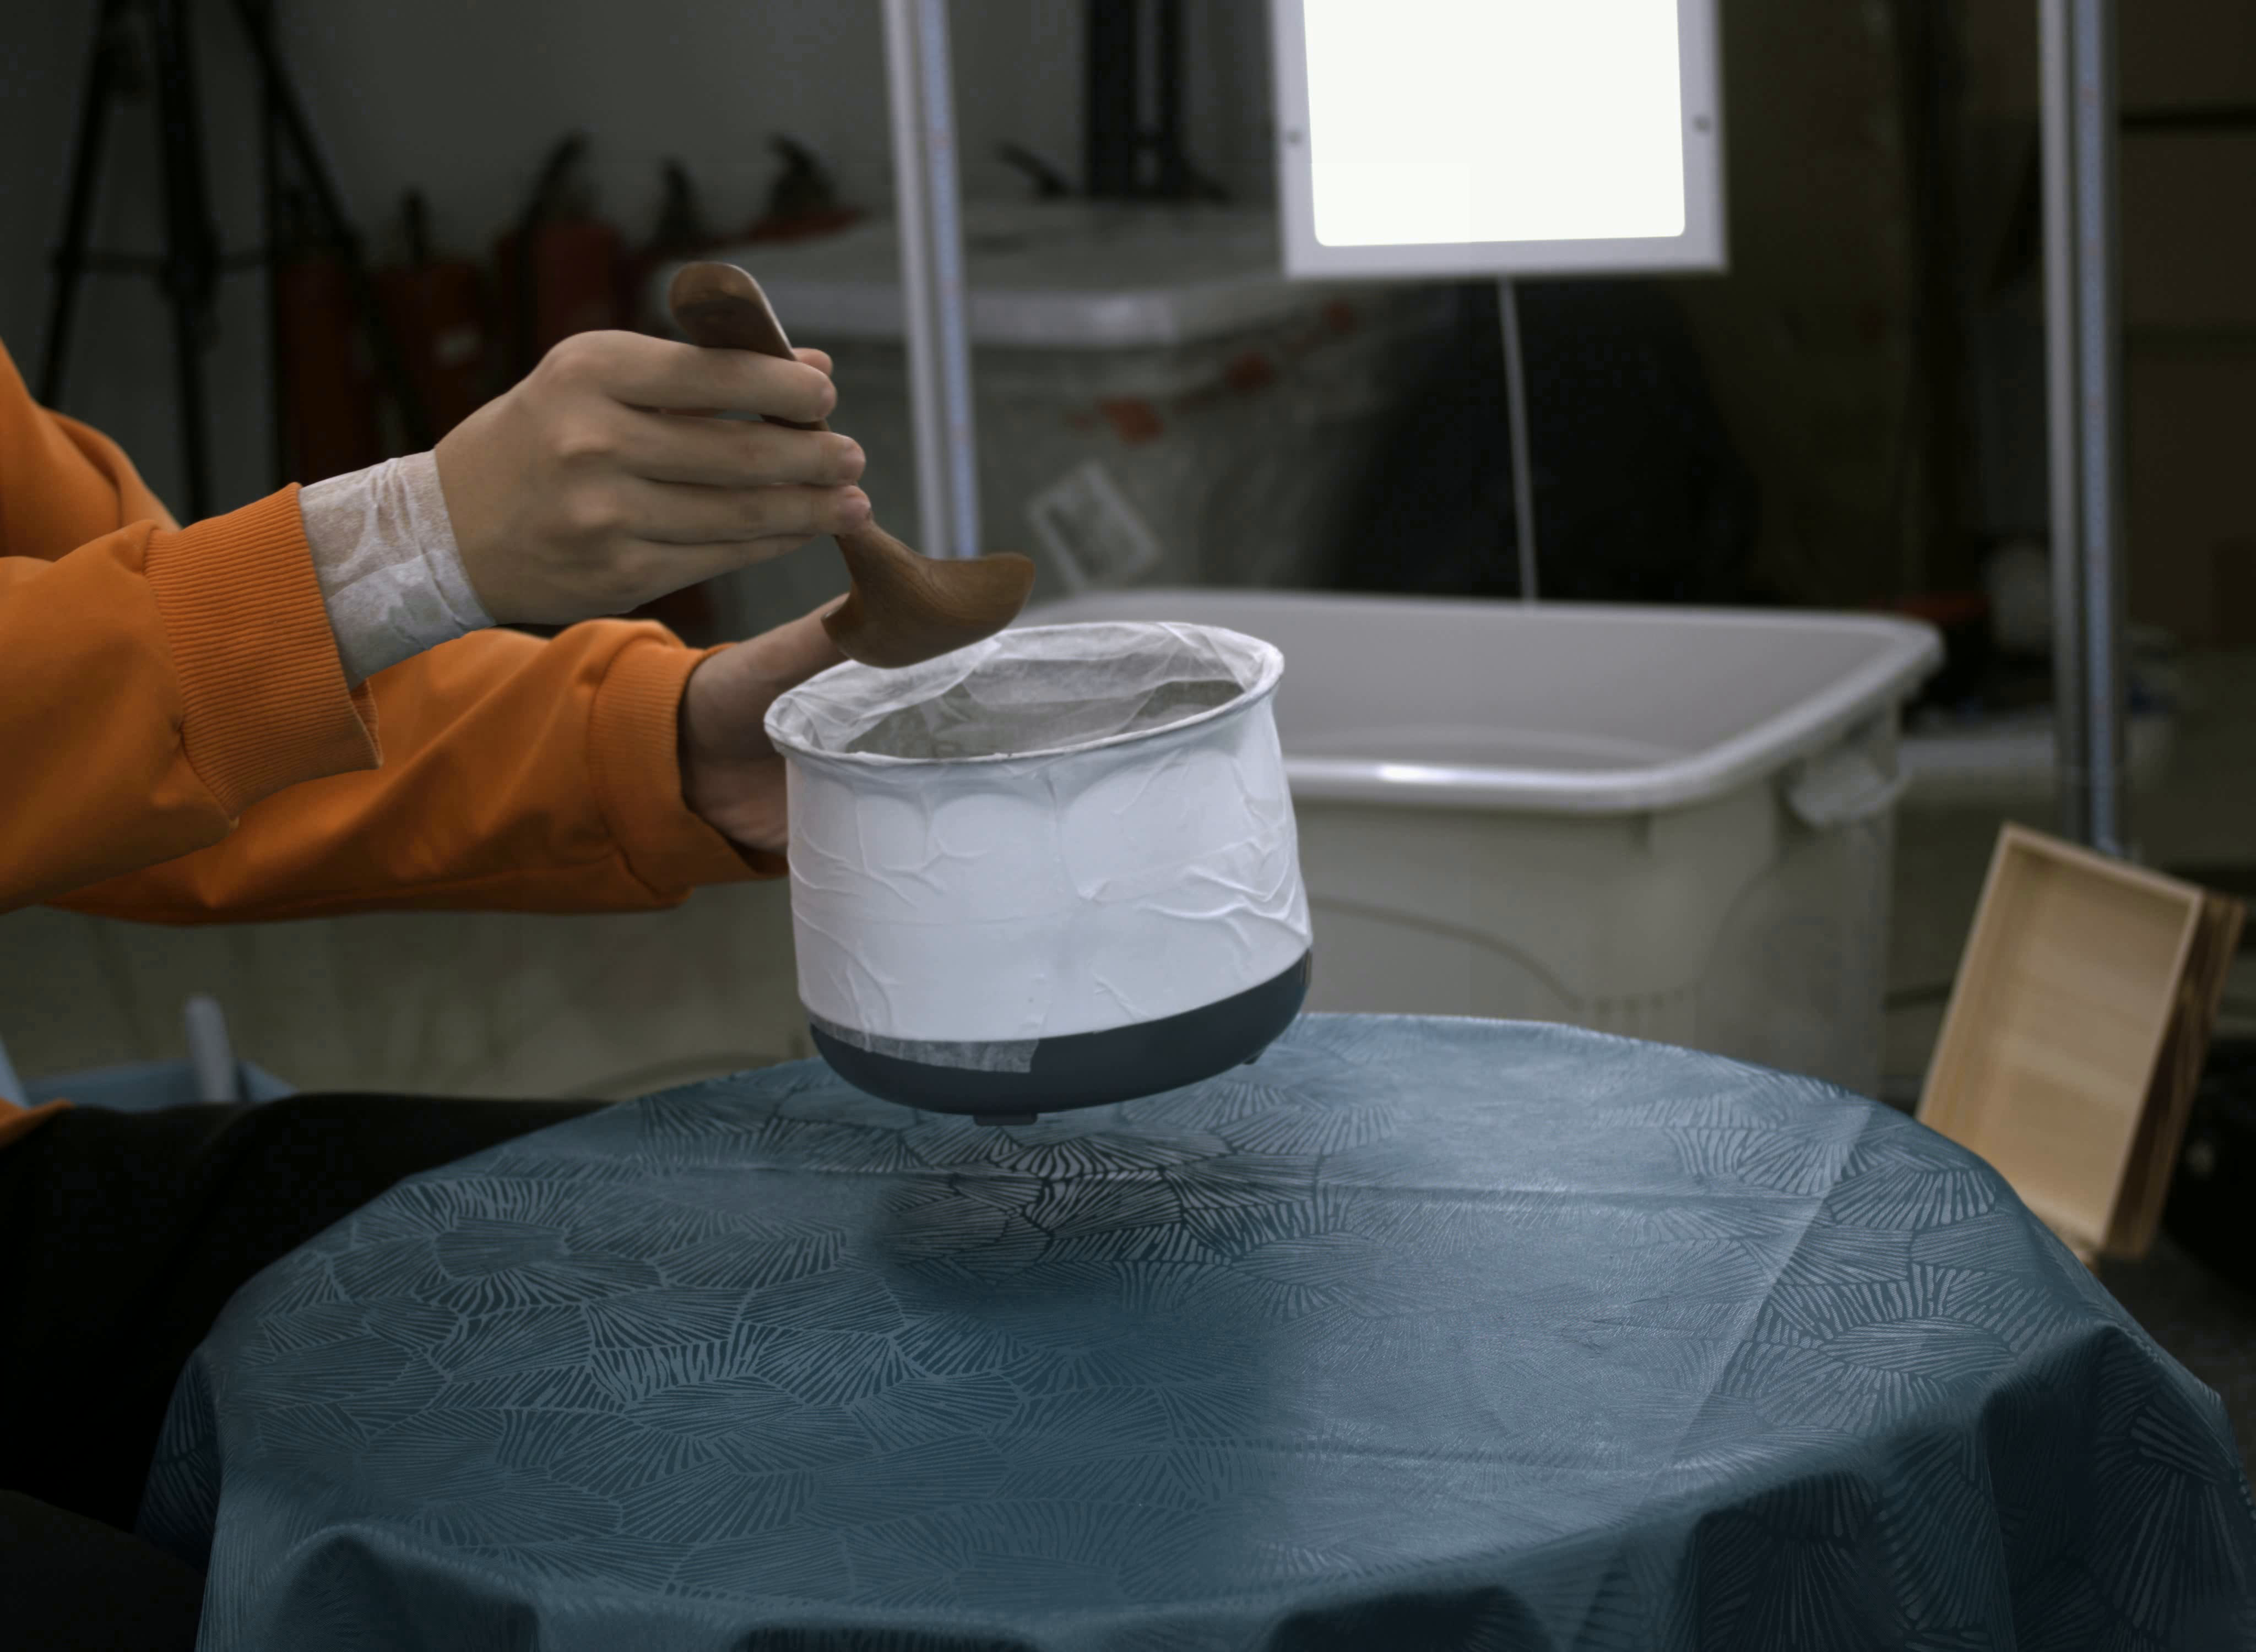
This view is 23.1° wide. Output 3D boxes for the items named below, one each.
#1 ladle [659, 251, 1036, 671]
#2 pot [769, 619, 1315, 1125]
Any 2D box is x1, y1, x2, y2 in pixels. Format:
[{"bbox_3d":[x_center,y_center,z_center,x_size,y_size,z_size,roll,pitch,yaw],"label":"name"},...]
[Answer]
[{"bbox_3d":[-0.098,-0.124,1.768,0.077,0.257,0.065,-25,54,7],"label":"ladle"},{"bbox_3d":[-0.041,0.009,1.891,0.175,0.137,0.238,-14,17,-26],"label":"pot"}]
